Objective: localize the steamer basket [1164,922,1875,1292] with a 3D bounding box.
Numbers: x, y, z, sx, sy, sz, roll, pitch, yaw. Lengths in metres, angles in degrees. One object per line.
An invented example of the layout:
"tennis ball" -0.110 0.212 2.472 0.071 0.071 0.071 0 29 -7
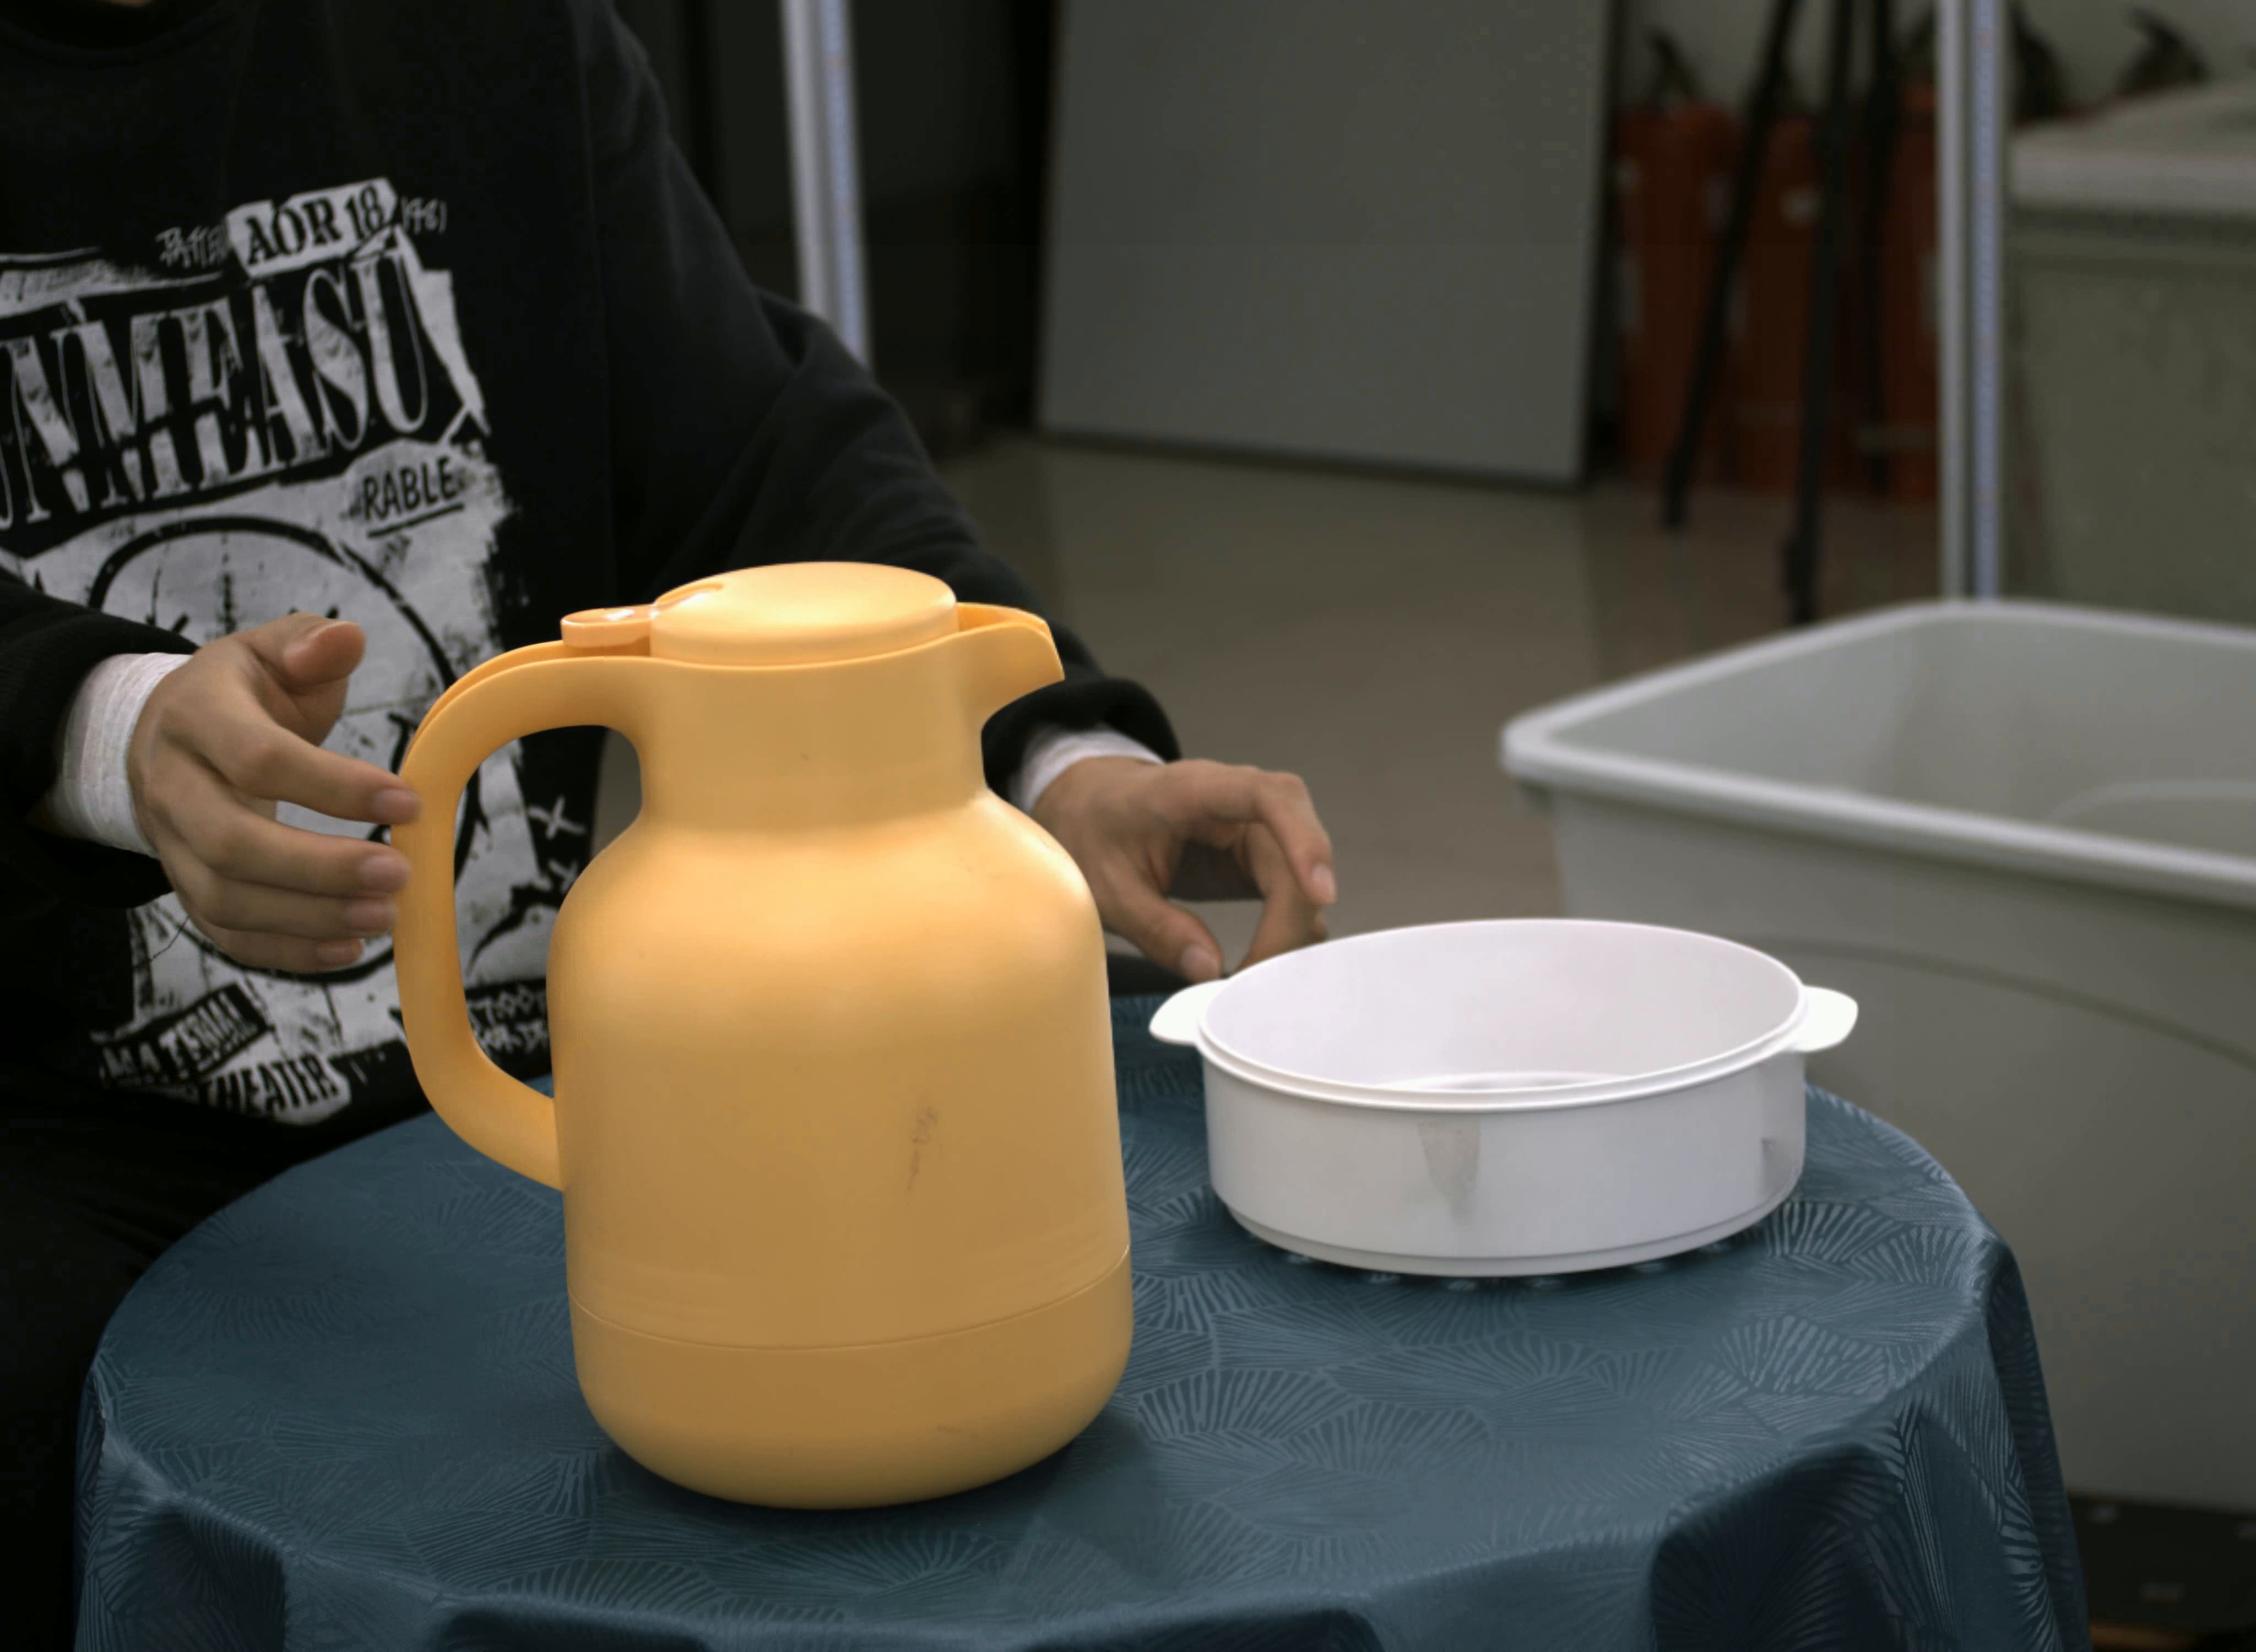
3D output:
"steamer basket" 0.126 0.090 1.732 0.229 0.070 0.200 0 15 16

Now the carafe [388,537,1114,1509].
"carafe" -0.106 0.052 1.533 0.200 0.263 0.163 -2 11 1
